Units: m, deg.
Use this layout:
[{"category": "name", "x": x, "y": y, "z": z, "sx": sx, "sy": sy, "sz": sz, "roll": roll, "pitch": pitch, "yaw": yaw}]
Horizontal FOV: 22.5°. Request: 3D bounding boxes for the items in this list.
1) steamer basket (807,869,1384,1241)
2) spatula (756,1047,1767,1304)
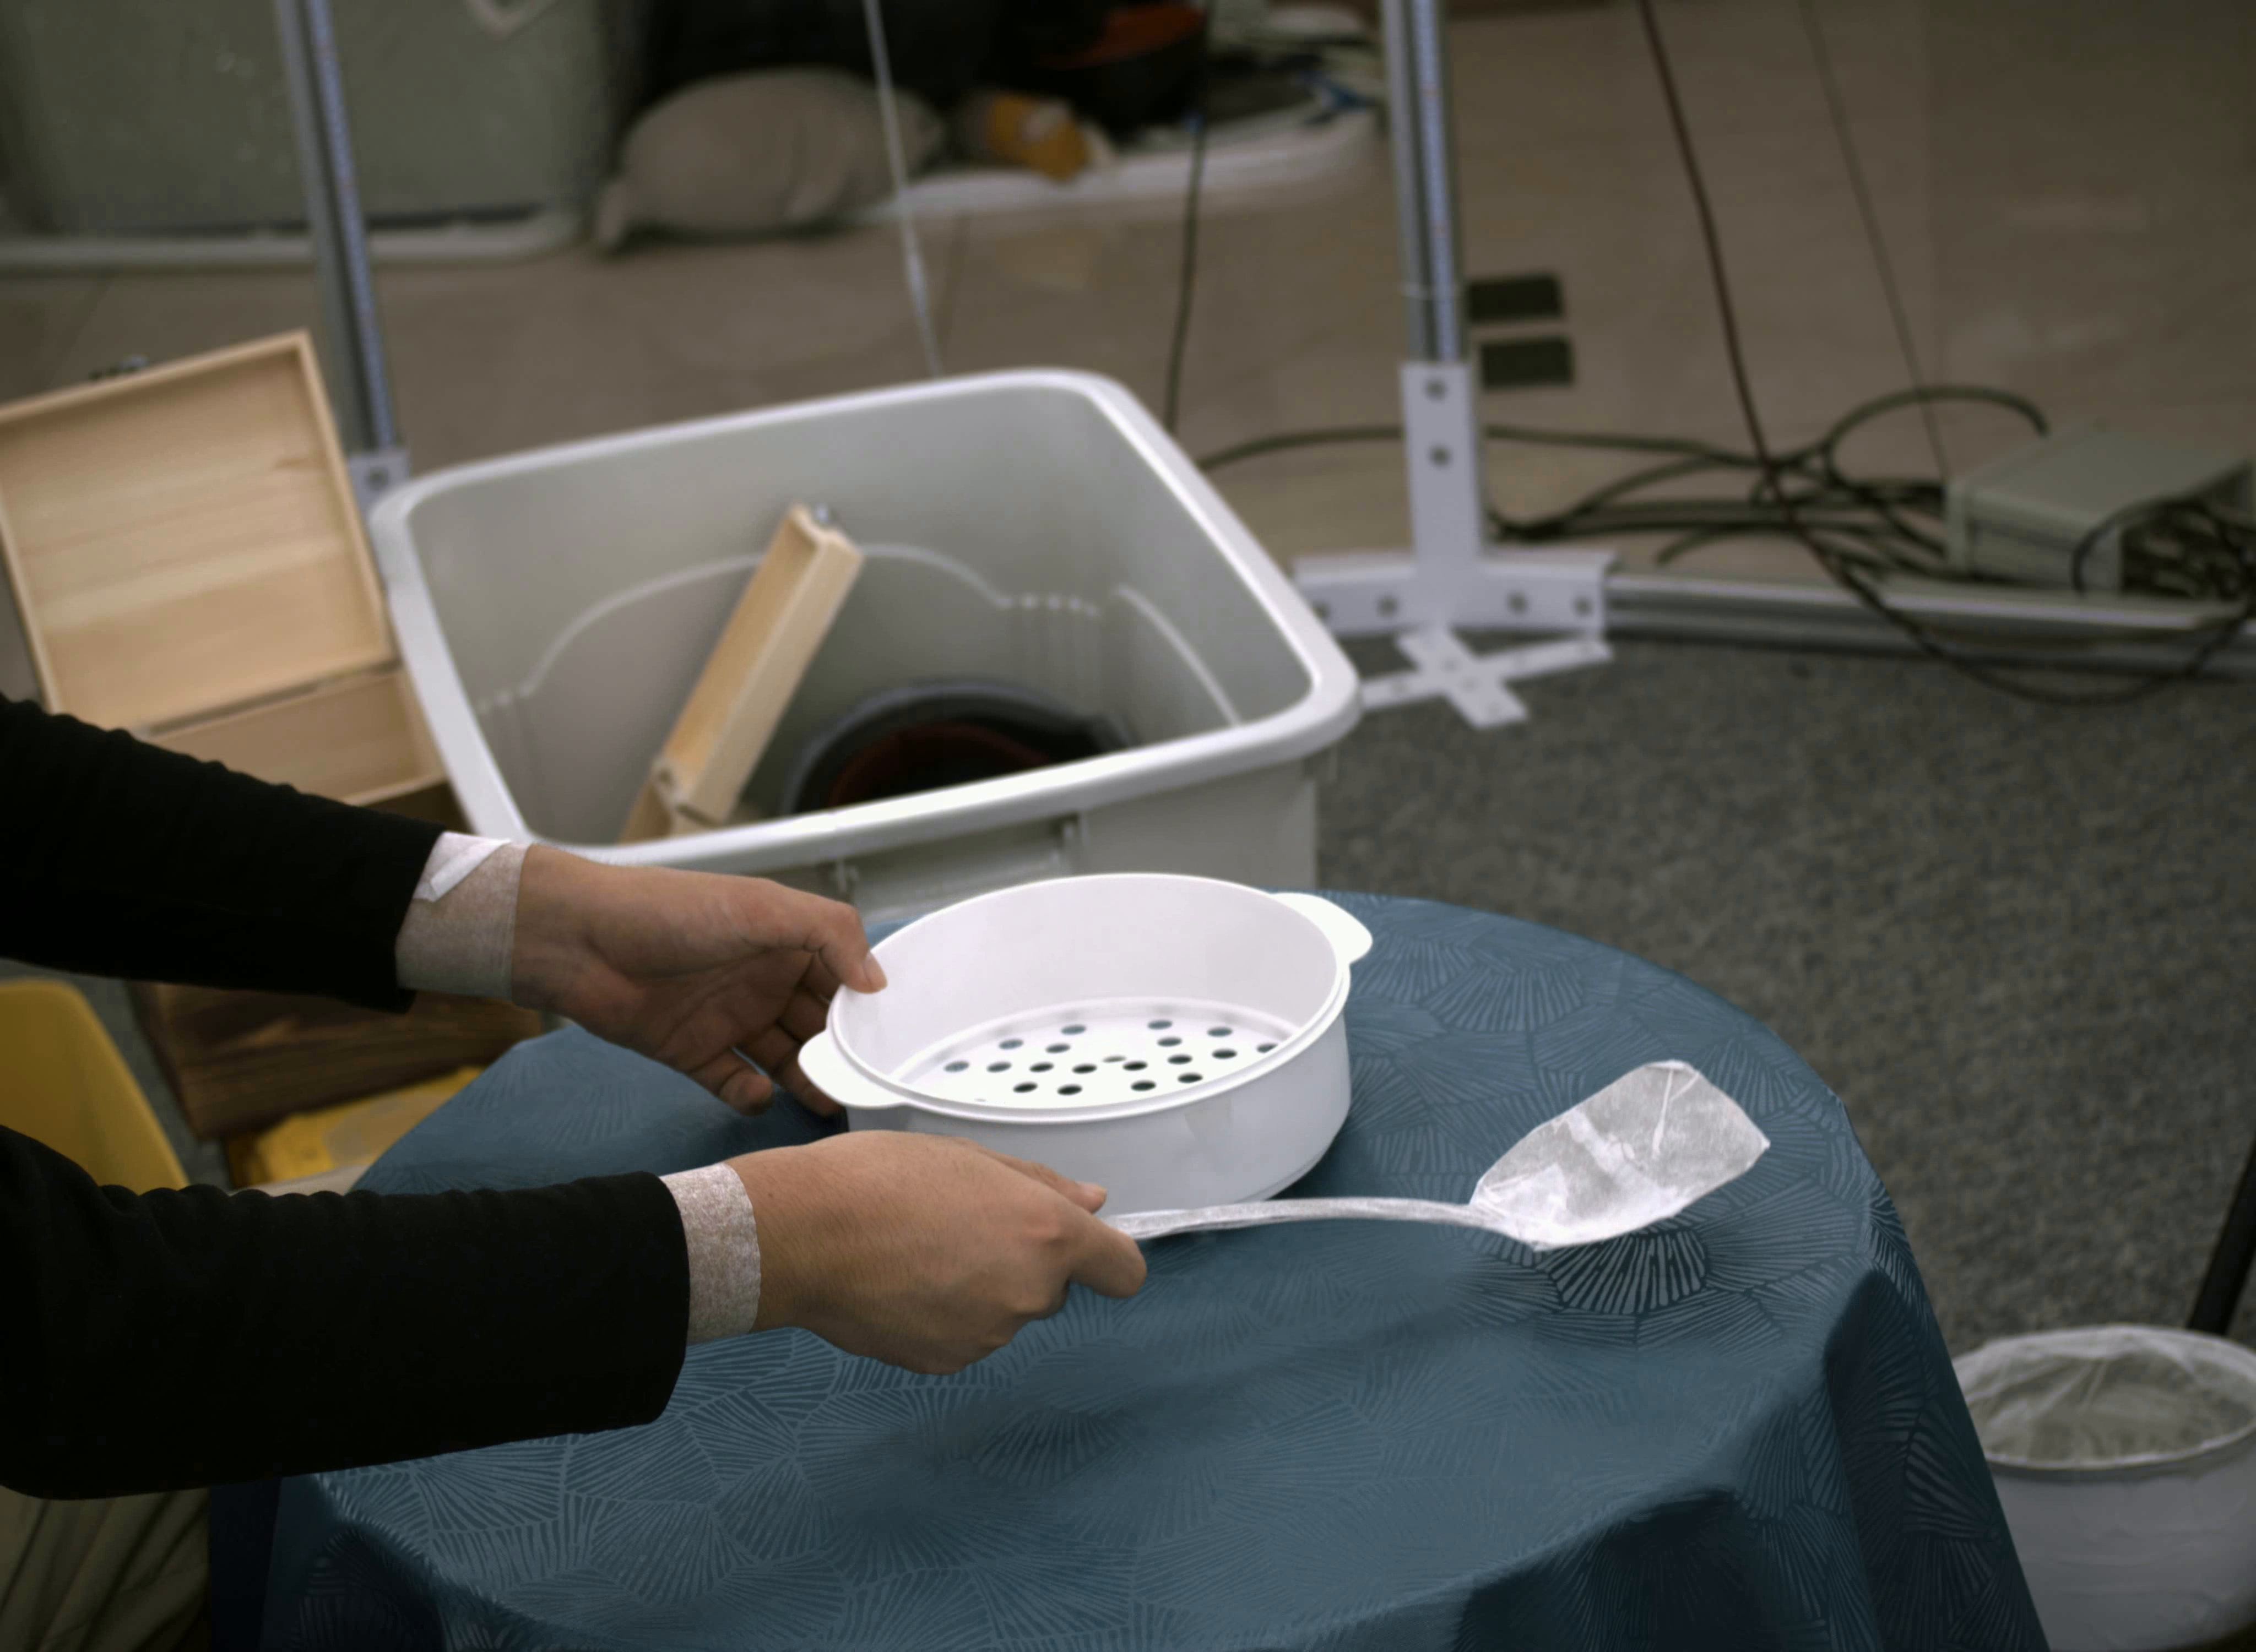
[{"category": "steamer basket", "x": -0.008, "y": 0.088, "z": 2.173, "sx": 0.229, "sy": 0.070, "sz": 0.199, "roll": -17, "pitch": 27, "yaw": -20}, {"category": "spatula", "x": 0.048, "y": 0.131, "z": 2.006, "sx": 0.364, "sy": 0.045, "sz": 0.097, "roll": -5, "pitch": 25, "yaw": -15}]
